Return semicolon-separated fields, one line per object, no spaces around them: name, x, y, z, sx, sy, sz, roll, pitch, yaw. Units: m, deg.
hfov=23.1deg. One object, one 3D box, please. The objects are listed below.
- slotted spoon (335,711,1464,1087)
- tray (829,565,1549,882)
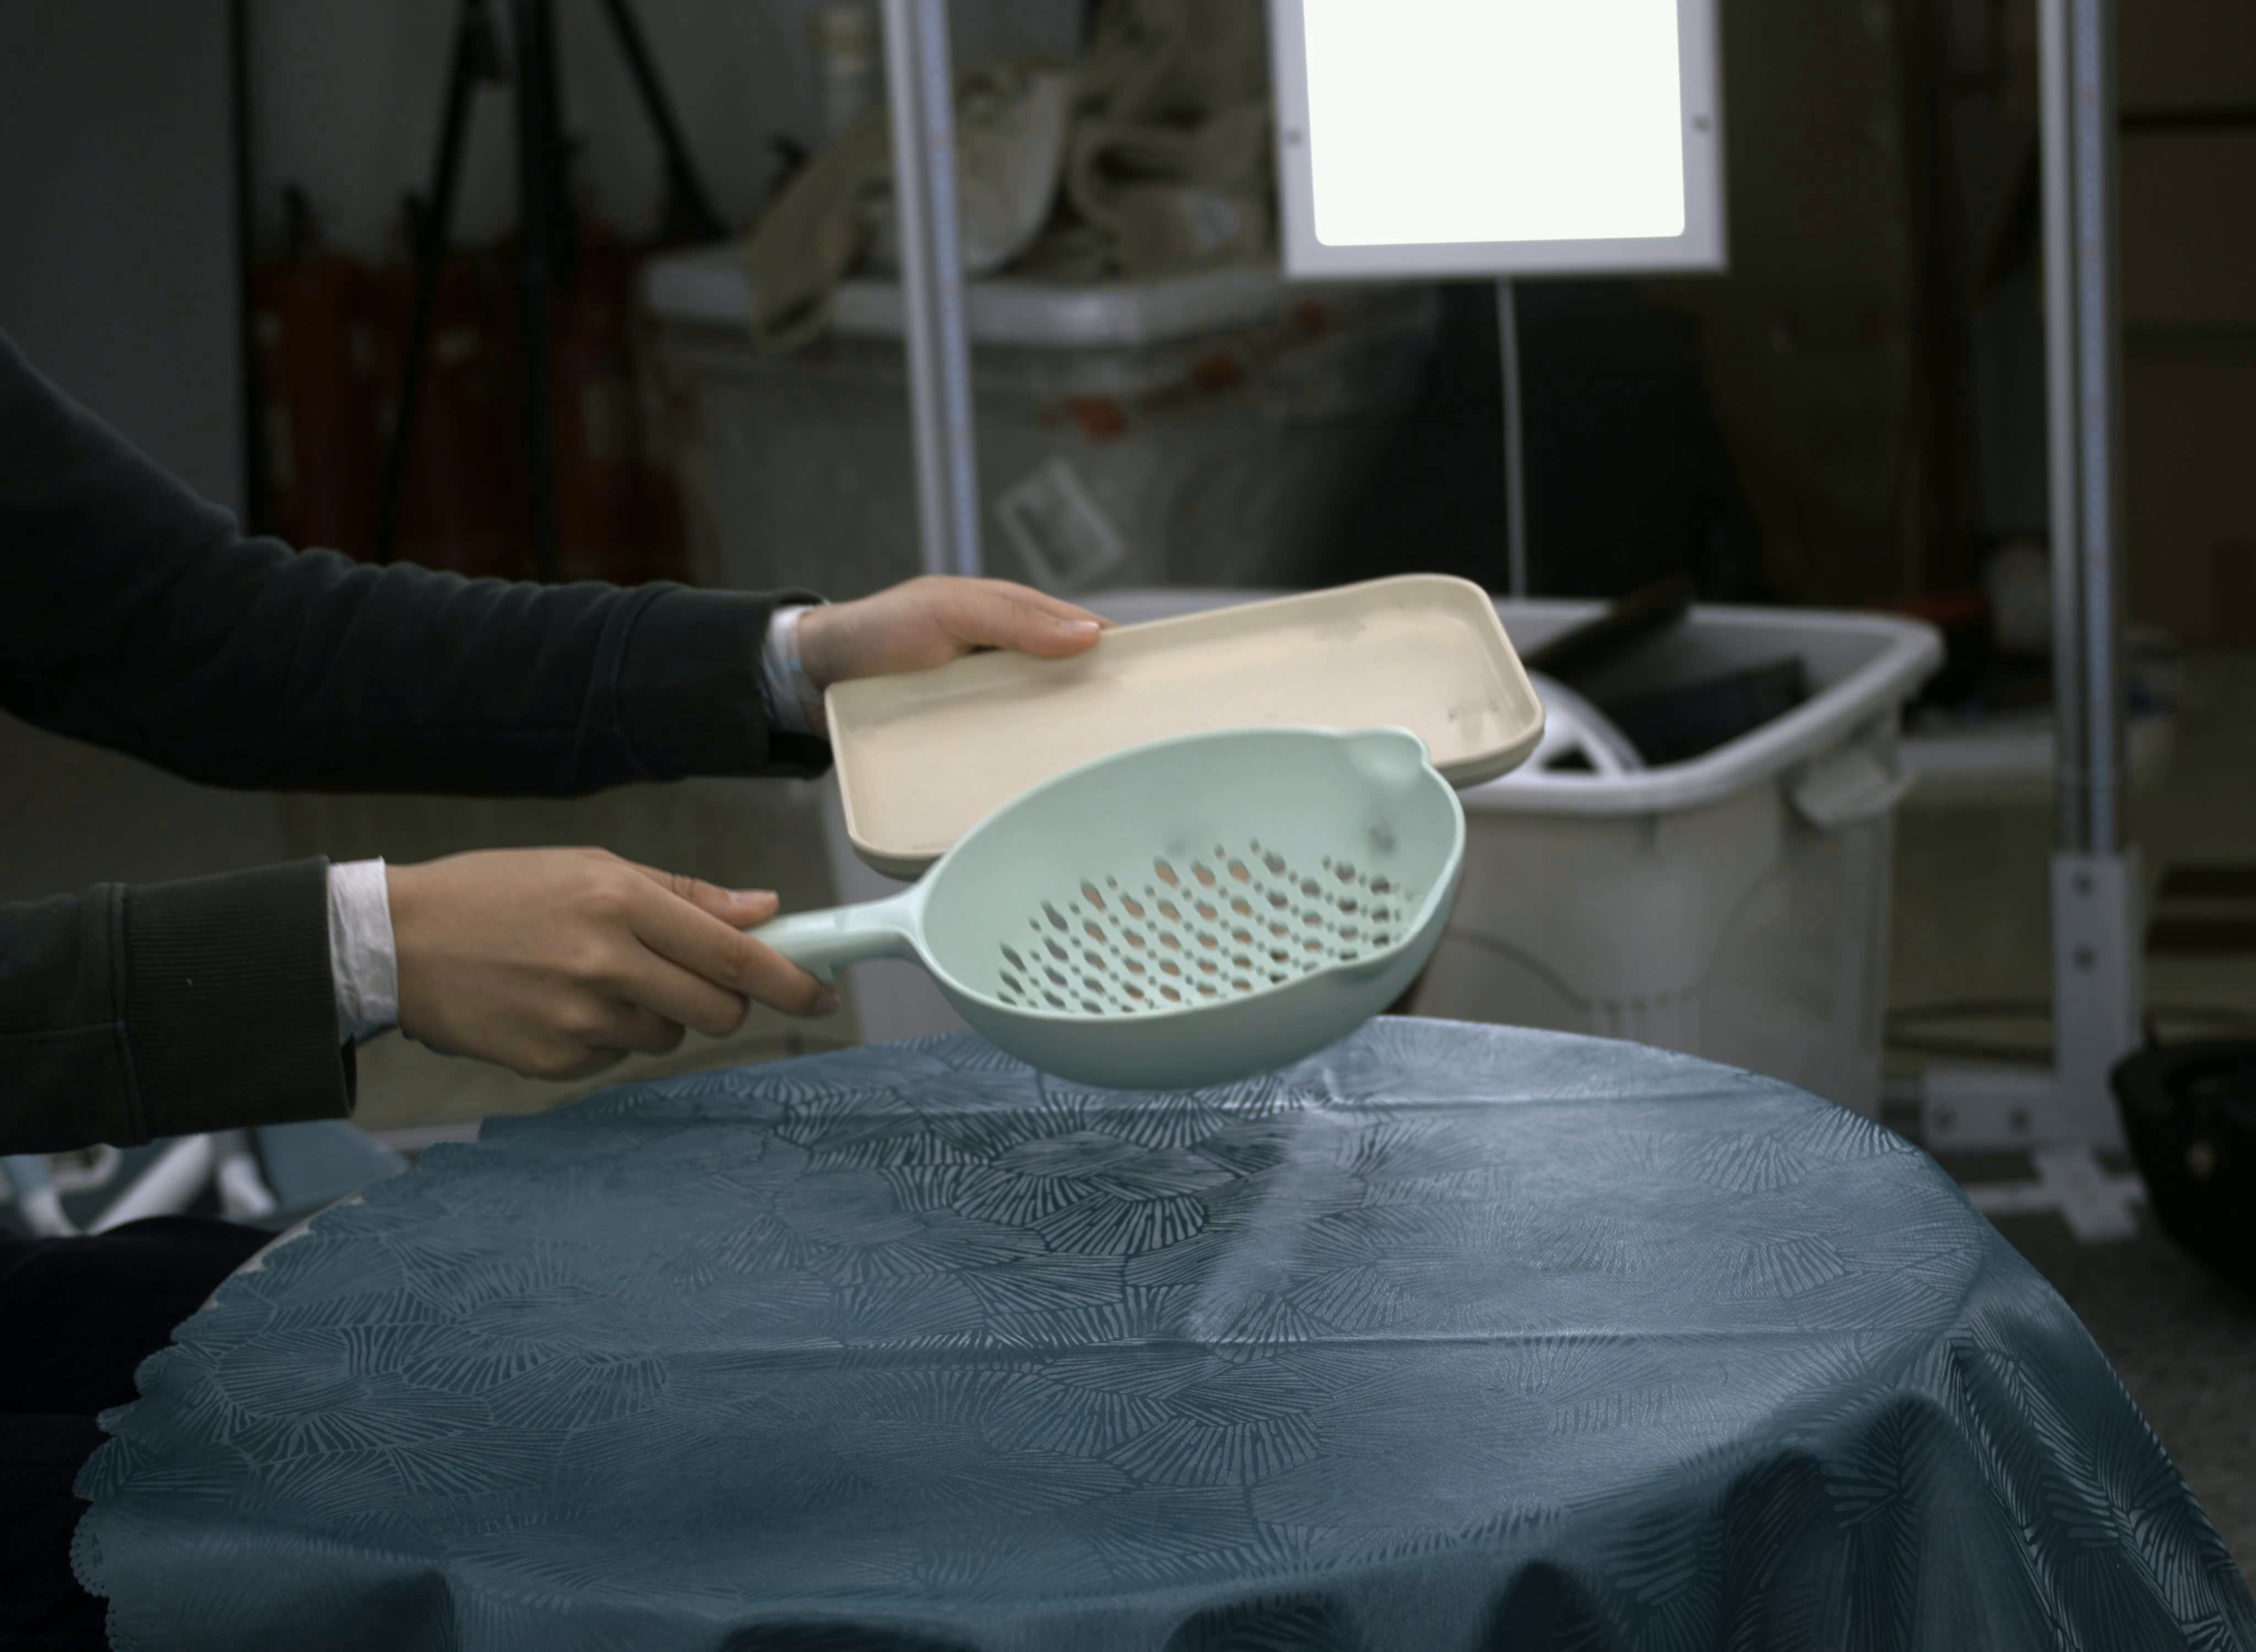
slotted spoon;-0.074;0.035;1.690;0.360;0.075;0.168;-2;30;8
tray;0.019;-0.035;1.894;0.239;0.017;0.171;-12;24;-1
